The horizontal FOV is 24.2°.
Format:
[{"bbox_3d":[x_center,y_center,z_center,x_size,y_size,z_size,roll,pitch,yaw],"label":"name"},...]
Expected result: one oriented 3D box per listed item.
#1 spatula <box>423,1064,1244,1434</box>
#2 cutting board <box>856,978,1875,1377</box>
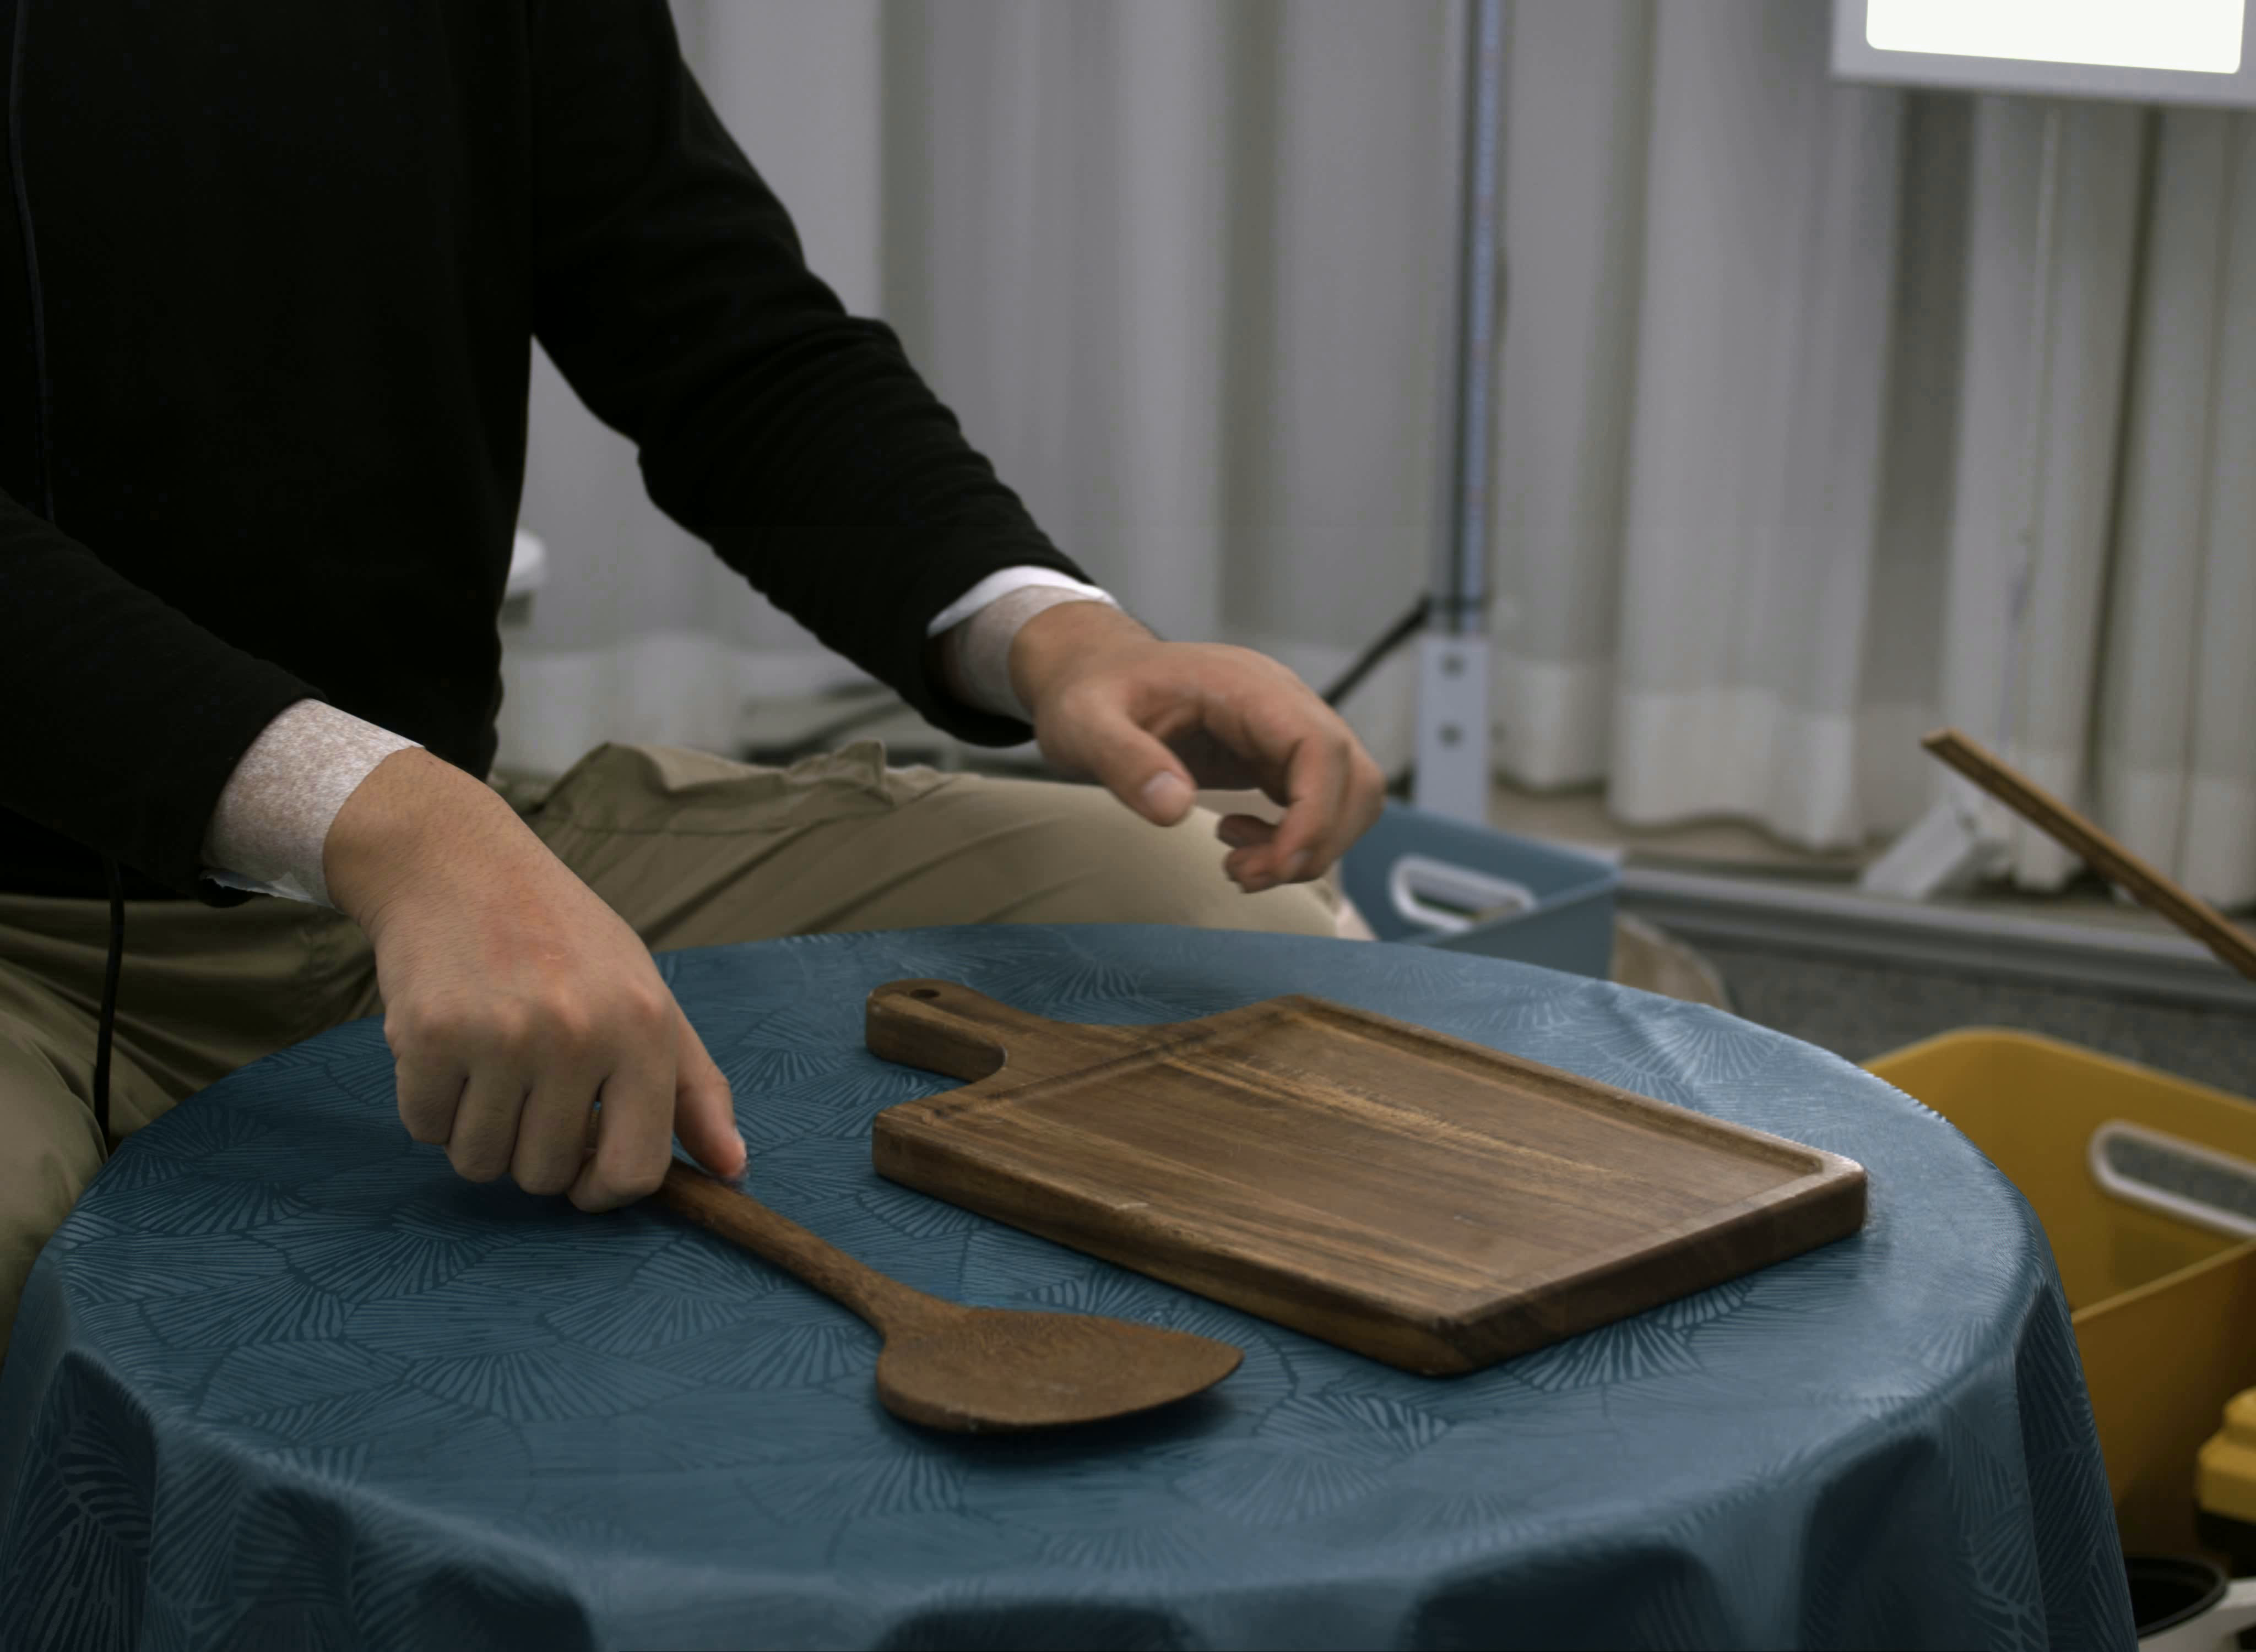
[{"bbox_3d":[-0.110,0.119,1.561,0.096,0.016,0.381,-9,18,-36],"label":"spatula"},{"bbox_3d":[0.039,0.095,1.646,0.202,0.023,0.347,-14,21,-43],"label":"cutting board"}]
